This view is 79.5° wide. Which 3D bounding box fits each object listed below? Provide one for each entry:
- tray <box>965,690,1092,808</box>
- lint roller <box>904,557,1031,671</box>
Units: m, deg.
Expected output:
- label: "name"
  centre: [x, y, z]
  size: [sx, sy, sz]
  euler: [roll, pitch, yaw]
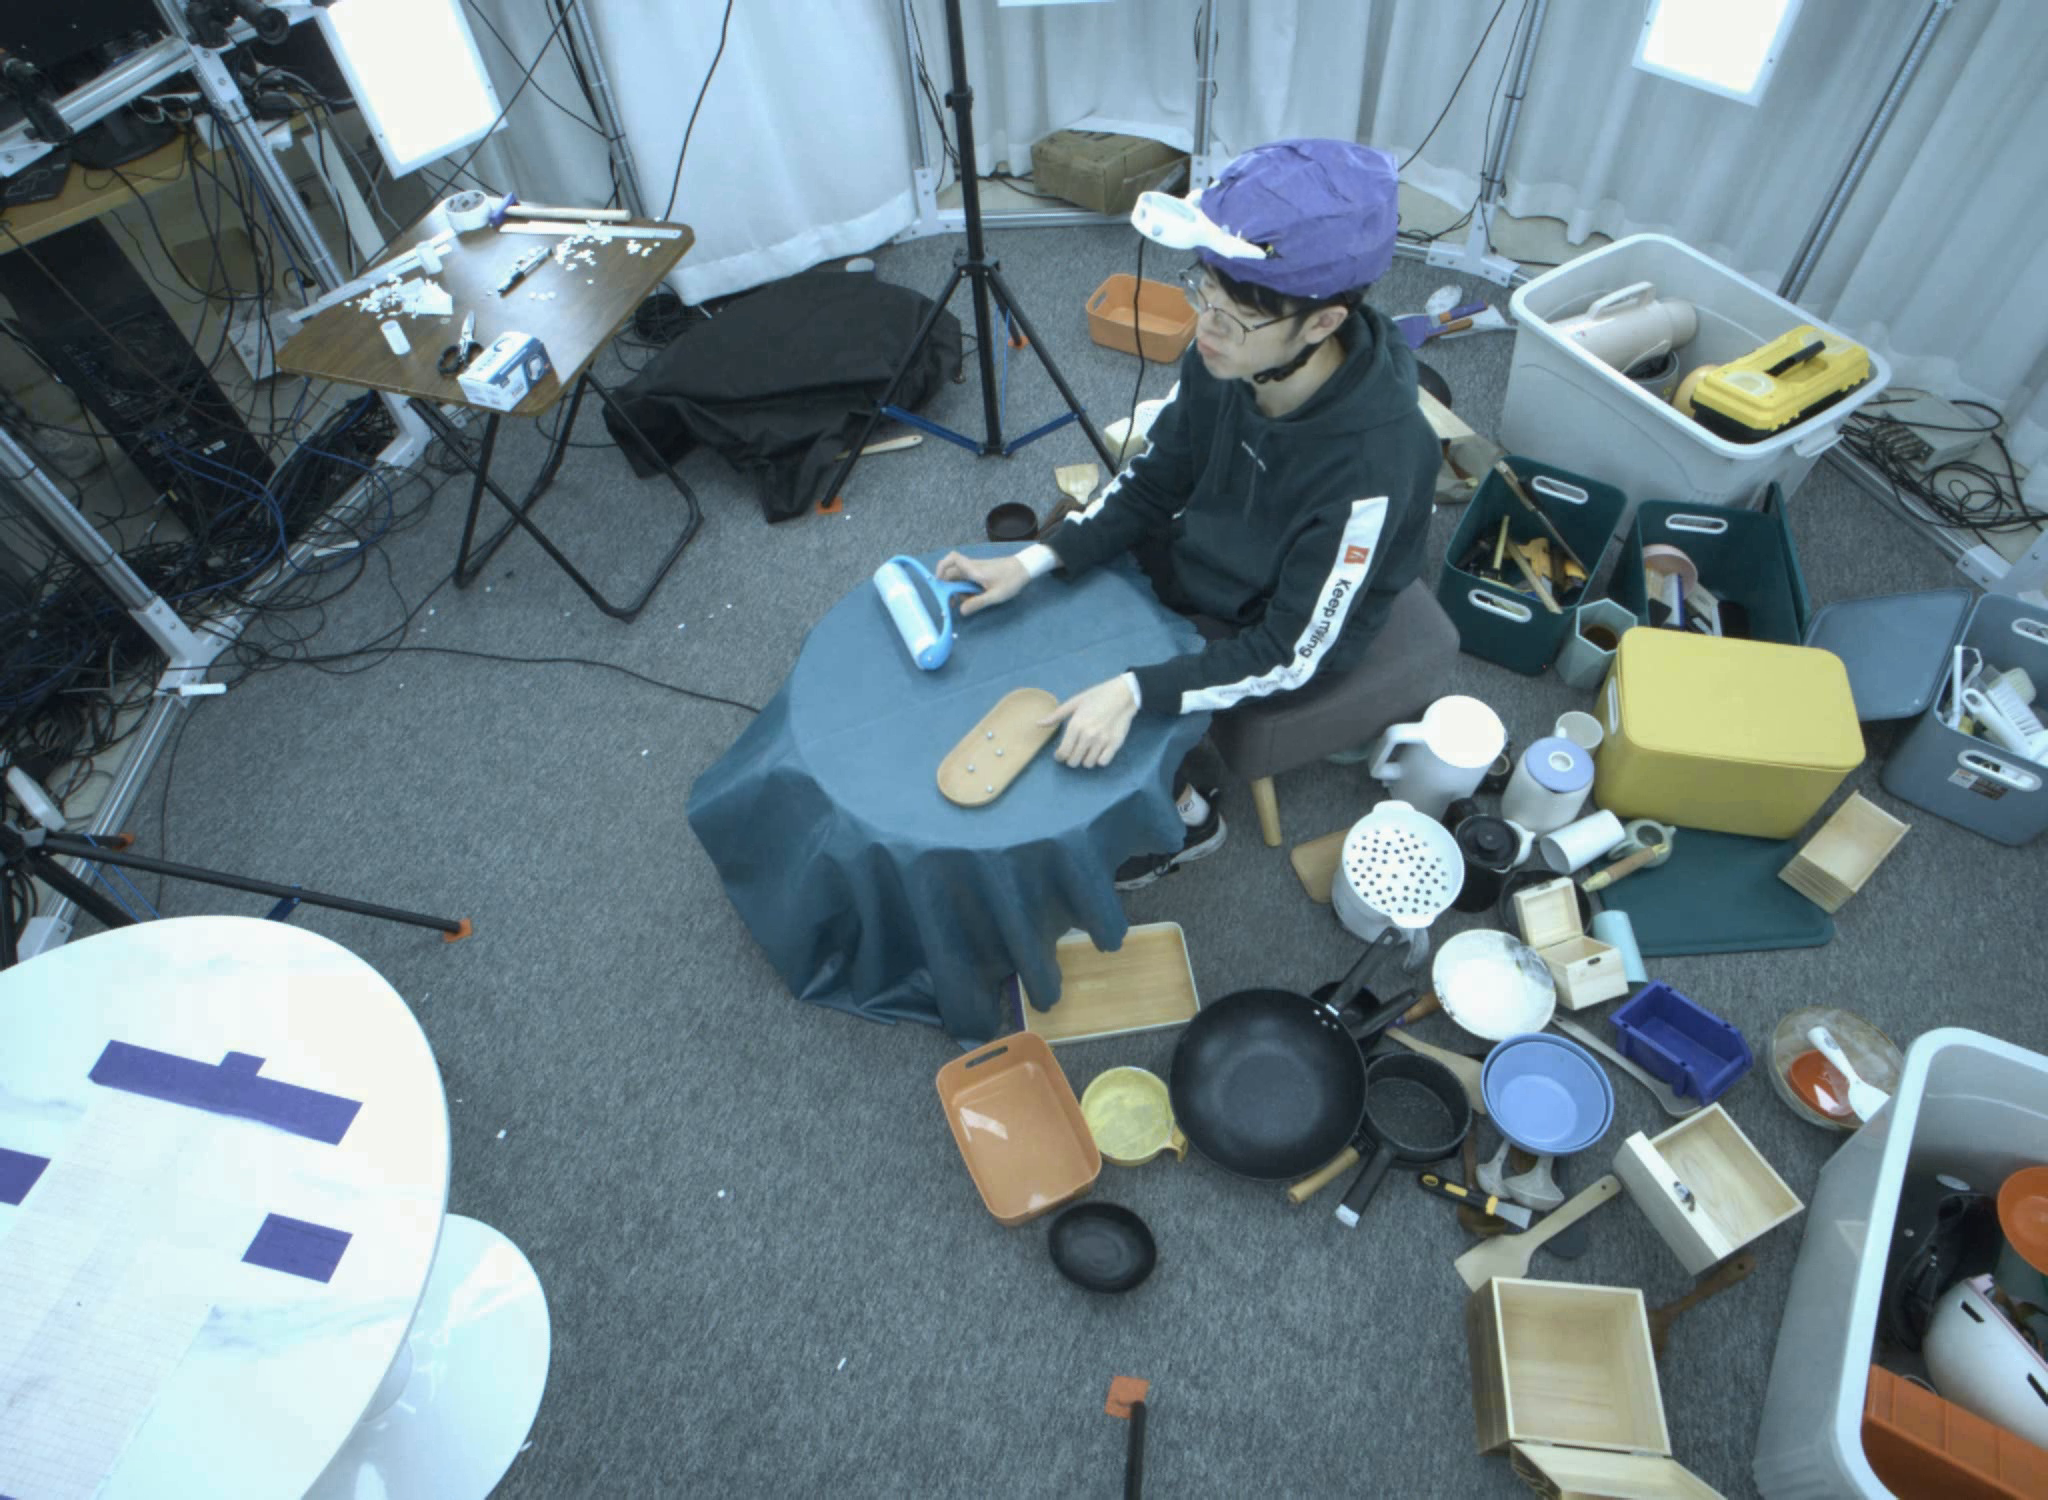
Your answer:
- label: "tray"
  centre: [0.008, -0.002, 1.775]
  size: [0.100, 0.020, 0.232]
  euler: [33, 60, 21]
- label: "lint roller"
  centre: [-0.076, -0.232, 1.914]
  size: [0.181, 0.069, 0.224]
  euler: [-22, 55, -12]
